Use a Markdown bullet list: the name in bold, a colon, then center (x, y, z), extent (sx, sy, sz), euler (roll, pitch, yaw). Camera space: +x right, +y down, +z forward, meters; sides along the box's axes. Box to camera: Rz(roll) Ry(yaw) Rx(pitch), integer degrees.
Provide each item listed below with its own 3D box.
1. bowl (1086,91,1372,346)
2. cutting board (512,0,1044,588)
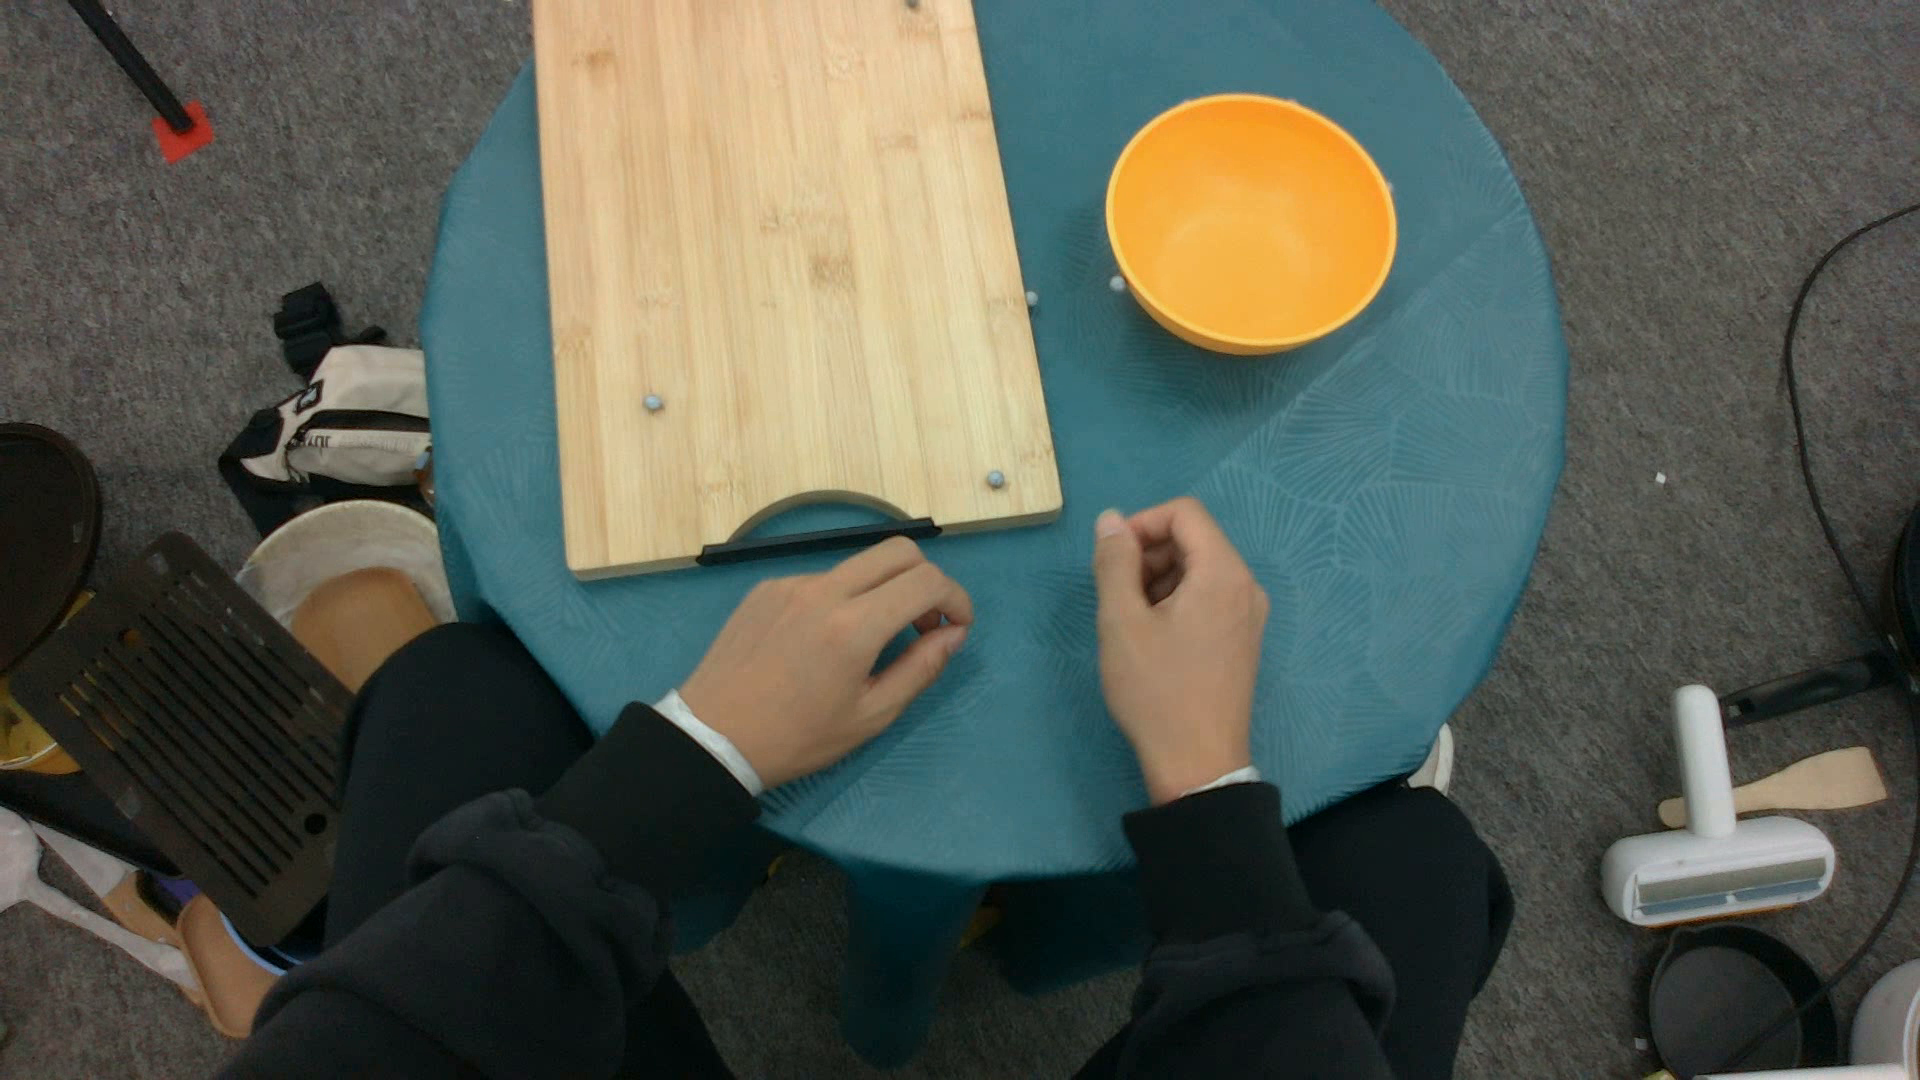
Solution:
- **bowl**: center (0.135, -0.158, 0.721), extent (0.145, 0.060, 0.146), euler (0, 71, -1)
- **cutting board**: center (-0.104, -0.155, 0.724), extent (0.251, 0.023, 0.349), euler (-8, 70, -7)
